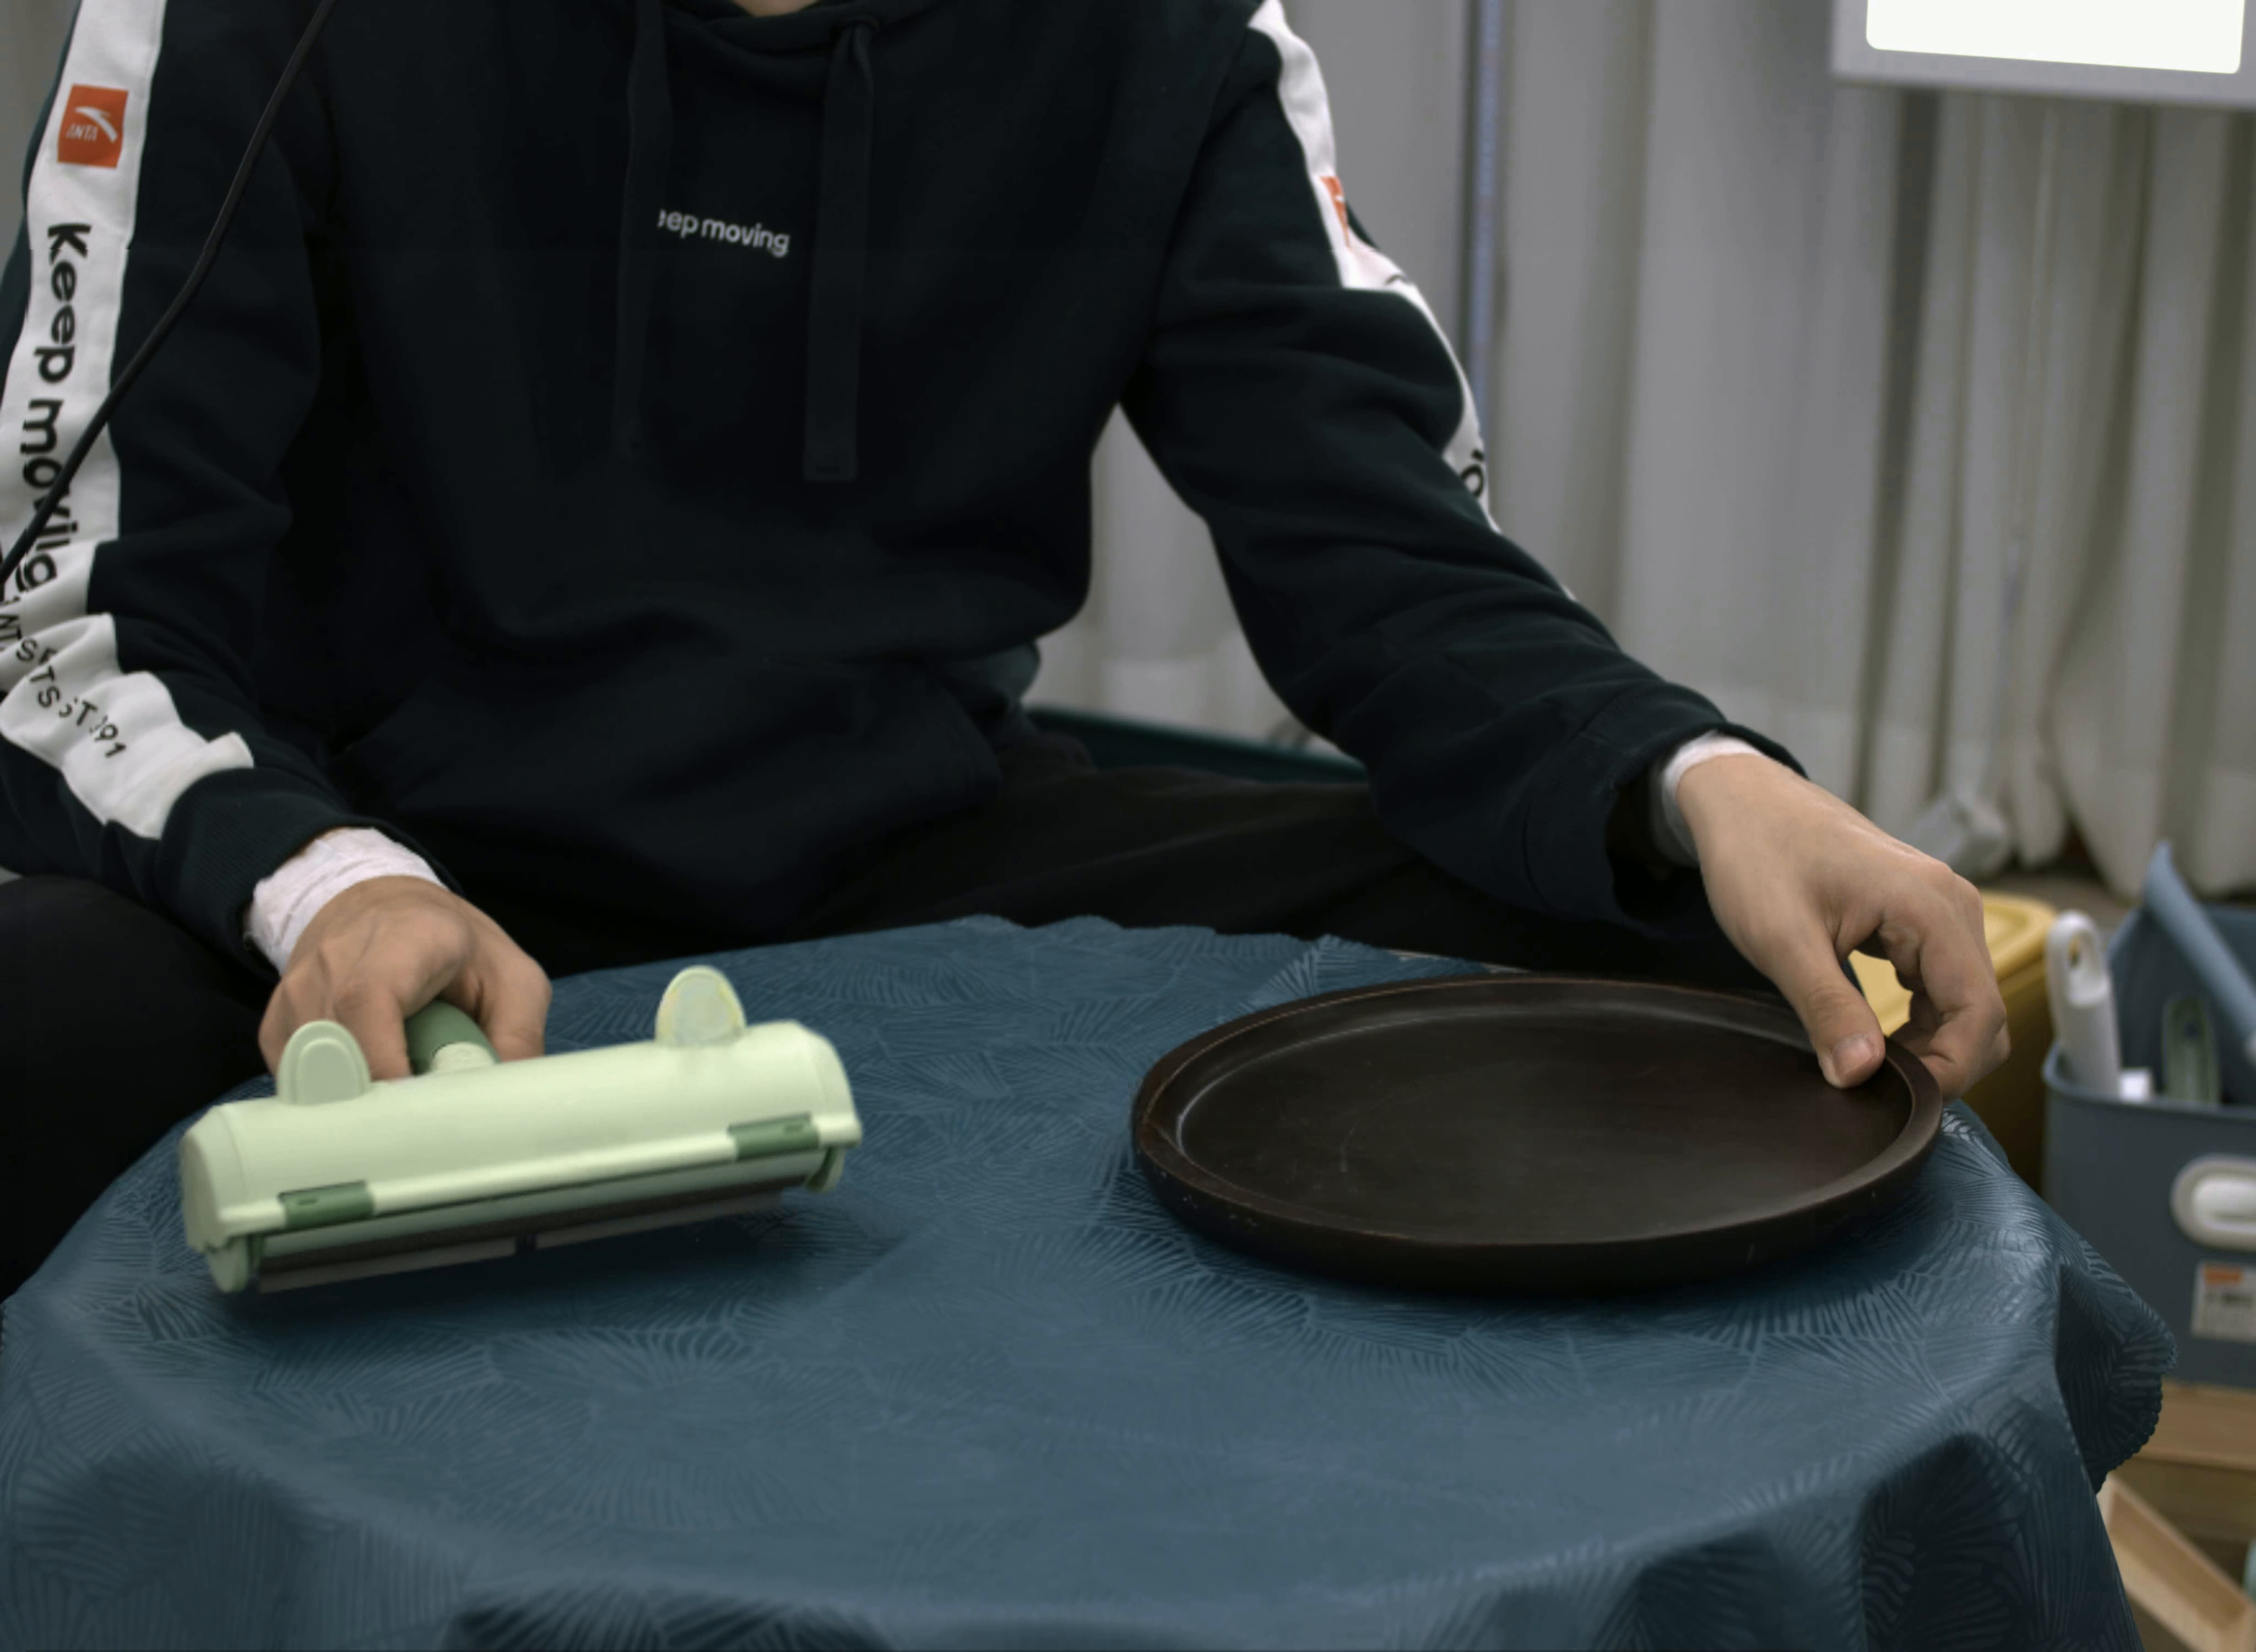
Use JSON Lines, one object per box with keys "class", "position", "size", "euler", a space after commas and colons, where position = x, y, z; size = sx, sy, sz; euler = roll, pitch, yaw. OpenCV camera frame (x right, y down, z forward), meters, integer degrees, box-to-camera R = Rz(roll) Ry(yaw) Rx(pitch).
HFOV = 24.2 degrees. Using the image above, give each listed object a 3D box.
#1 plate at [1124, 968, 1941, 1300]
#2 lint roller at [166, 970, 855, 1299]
{"class": "plate", "position": [0.125, 0.094, 1.631], "size": [0.254, 0.029, 0.253], "euler": [-2, 16, 1]}
{"class": "lint roller", "position": [-0.201, 0.068, 1.583], "size": [0.199, 0.083, 0.181], "euler": [-7, 28, -22]}
